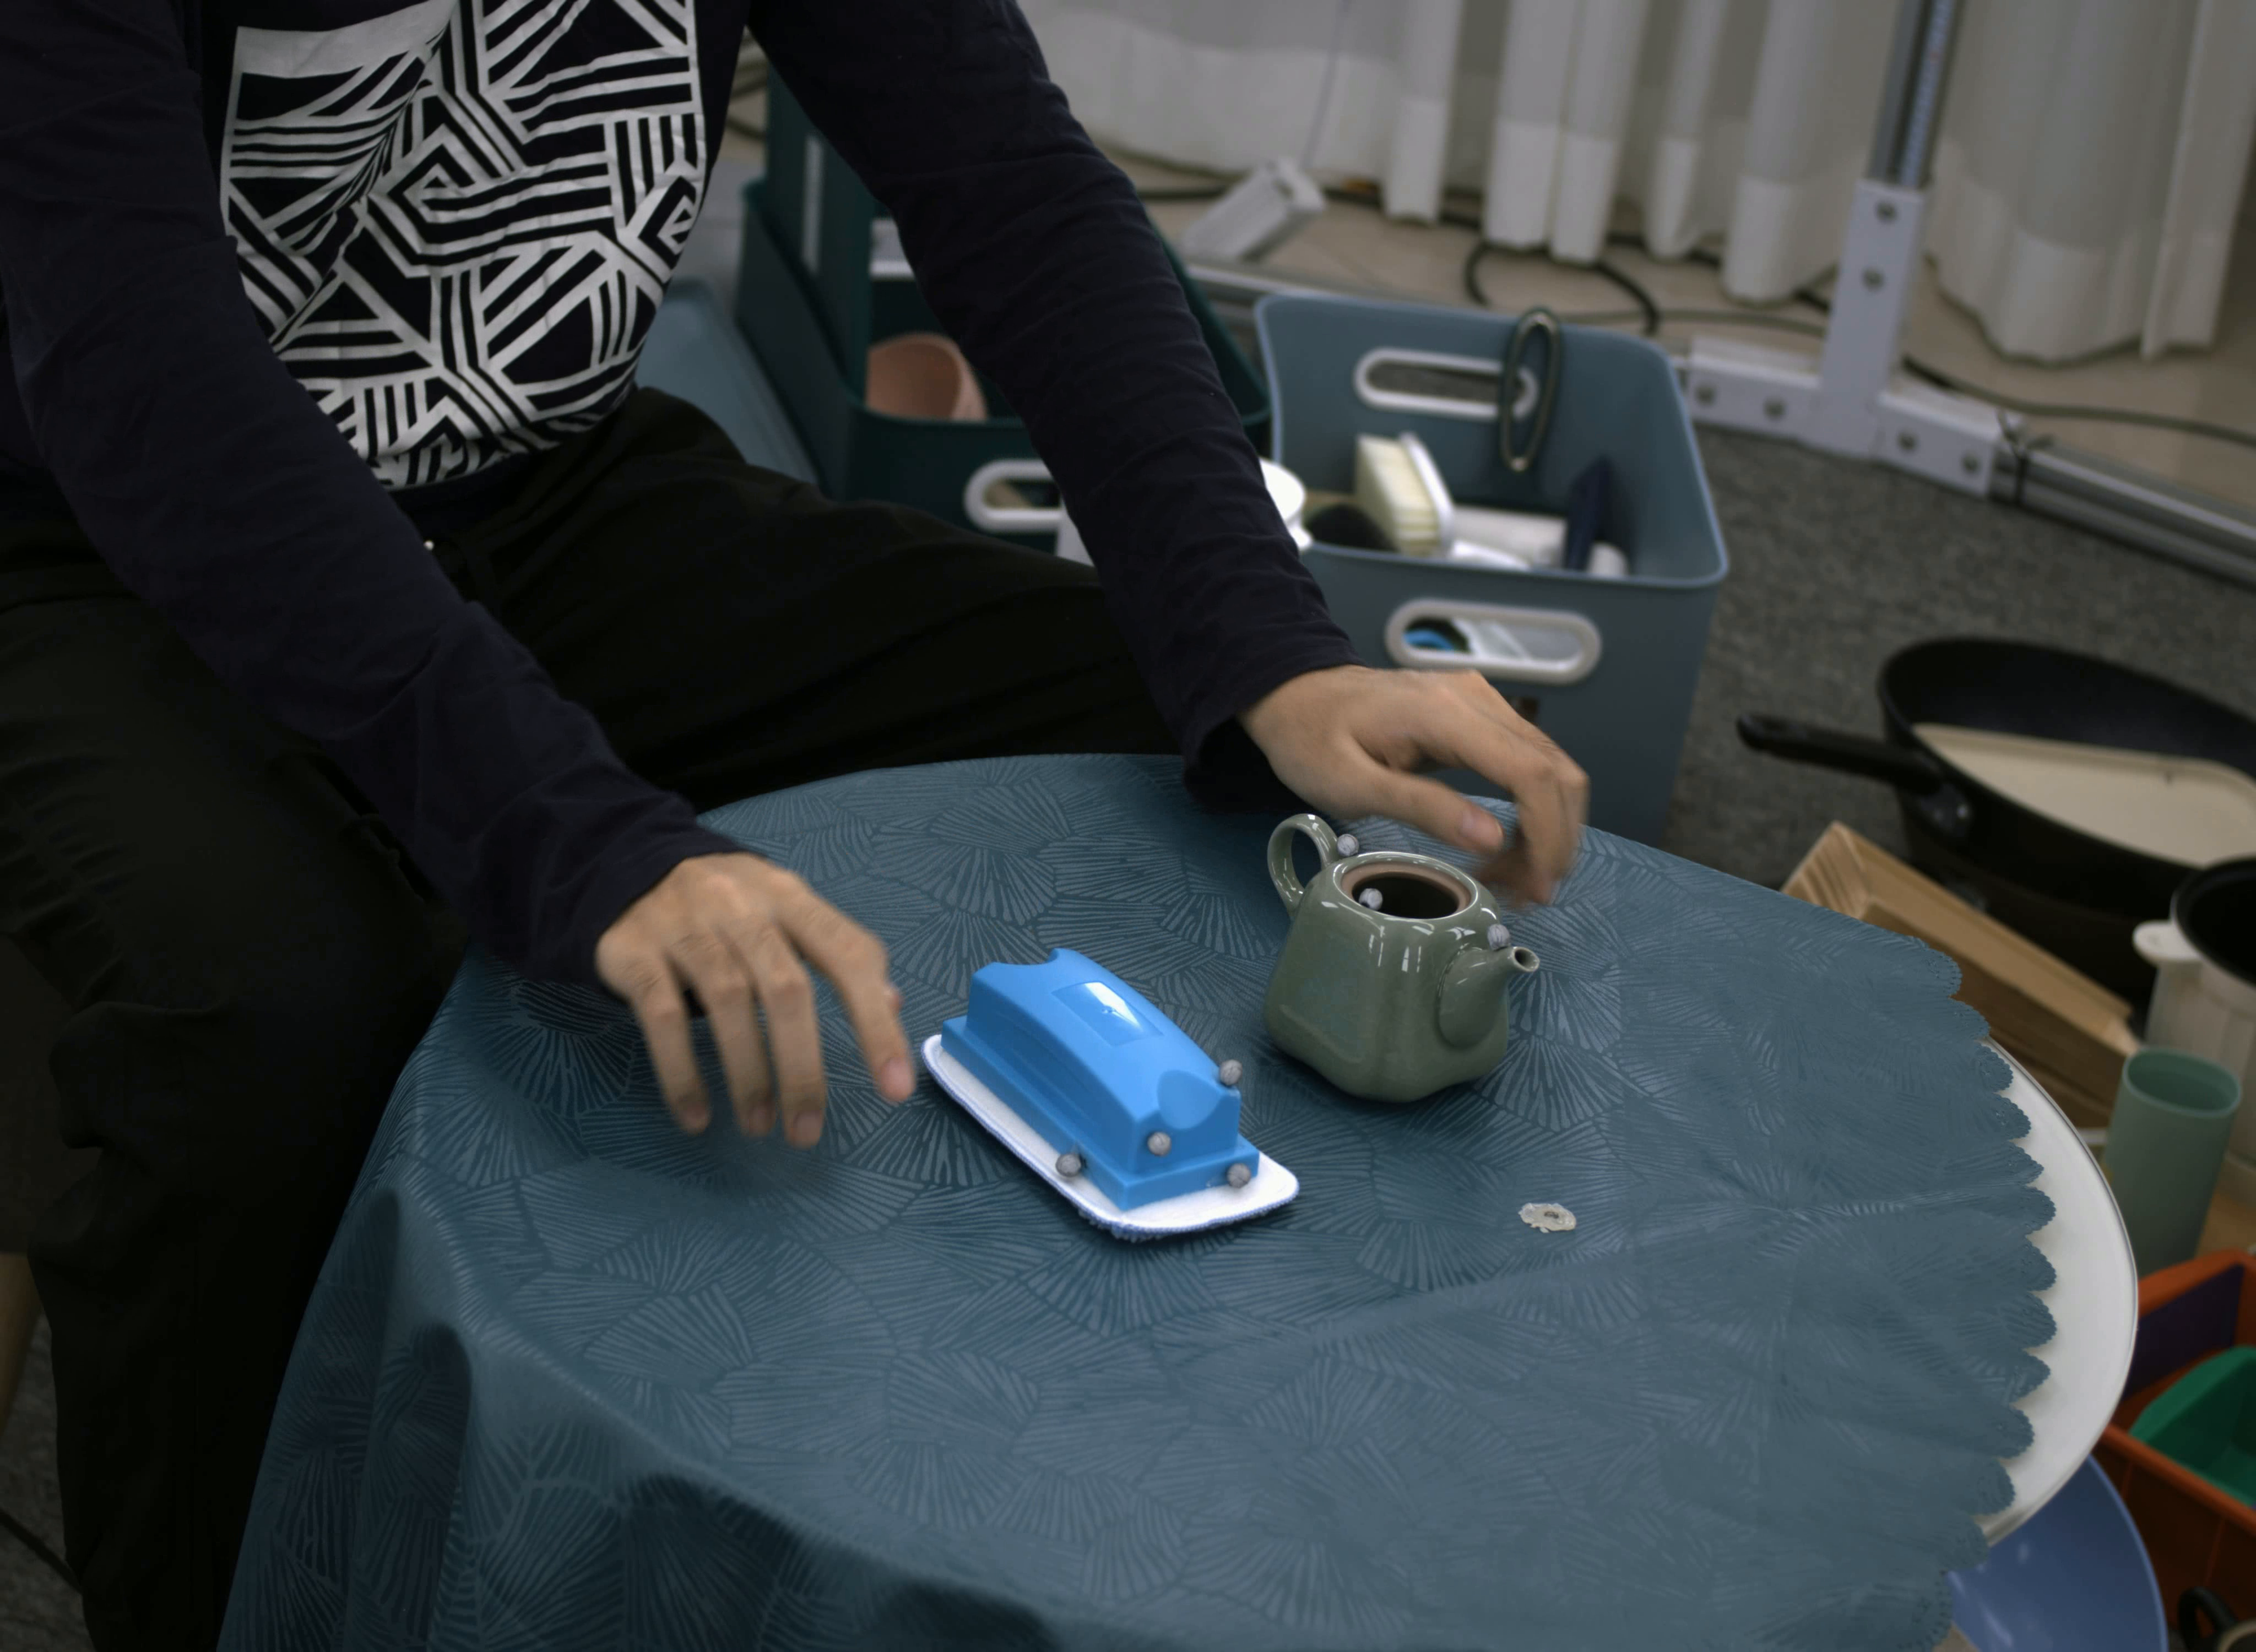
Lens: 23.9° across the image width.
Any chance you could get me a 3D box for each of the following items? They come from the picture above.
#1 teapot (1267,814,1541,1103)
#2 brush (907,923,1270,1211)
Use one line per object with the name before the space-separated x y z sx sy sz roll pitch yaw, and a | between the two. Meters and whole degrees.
teapot | 0.095 0.051 1.891 0.079 0.075 0.133 -16 33 -37
brush | -0.011 0.078 1.826 0.083 0.056 0.145 -6 33 -31
